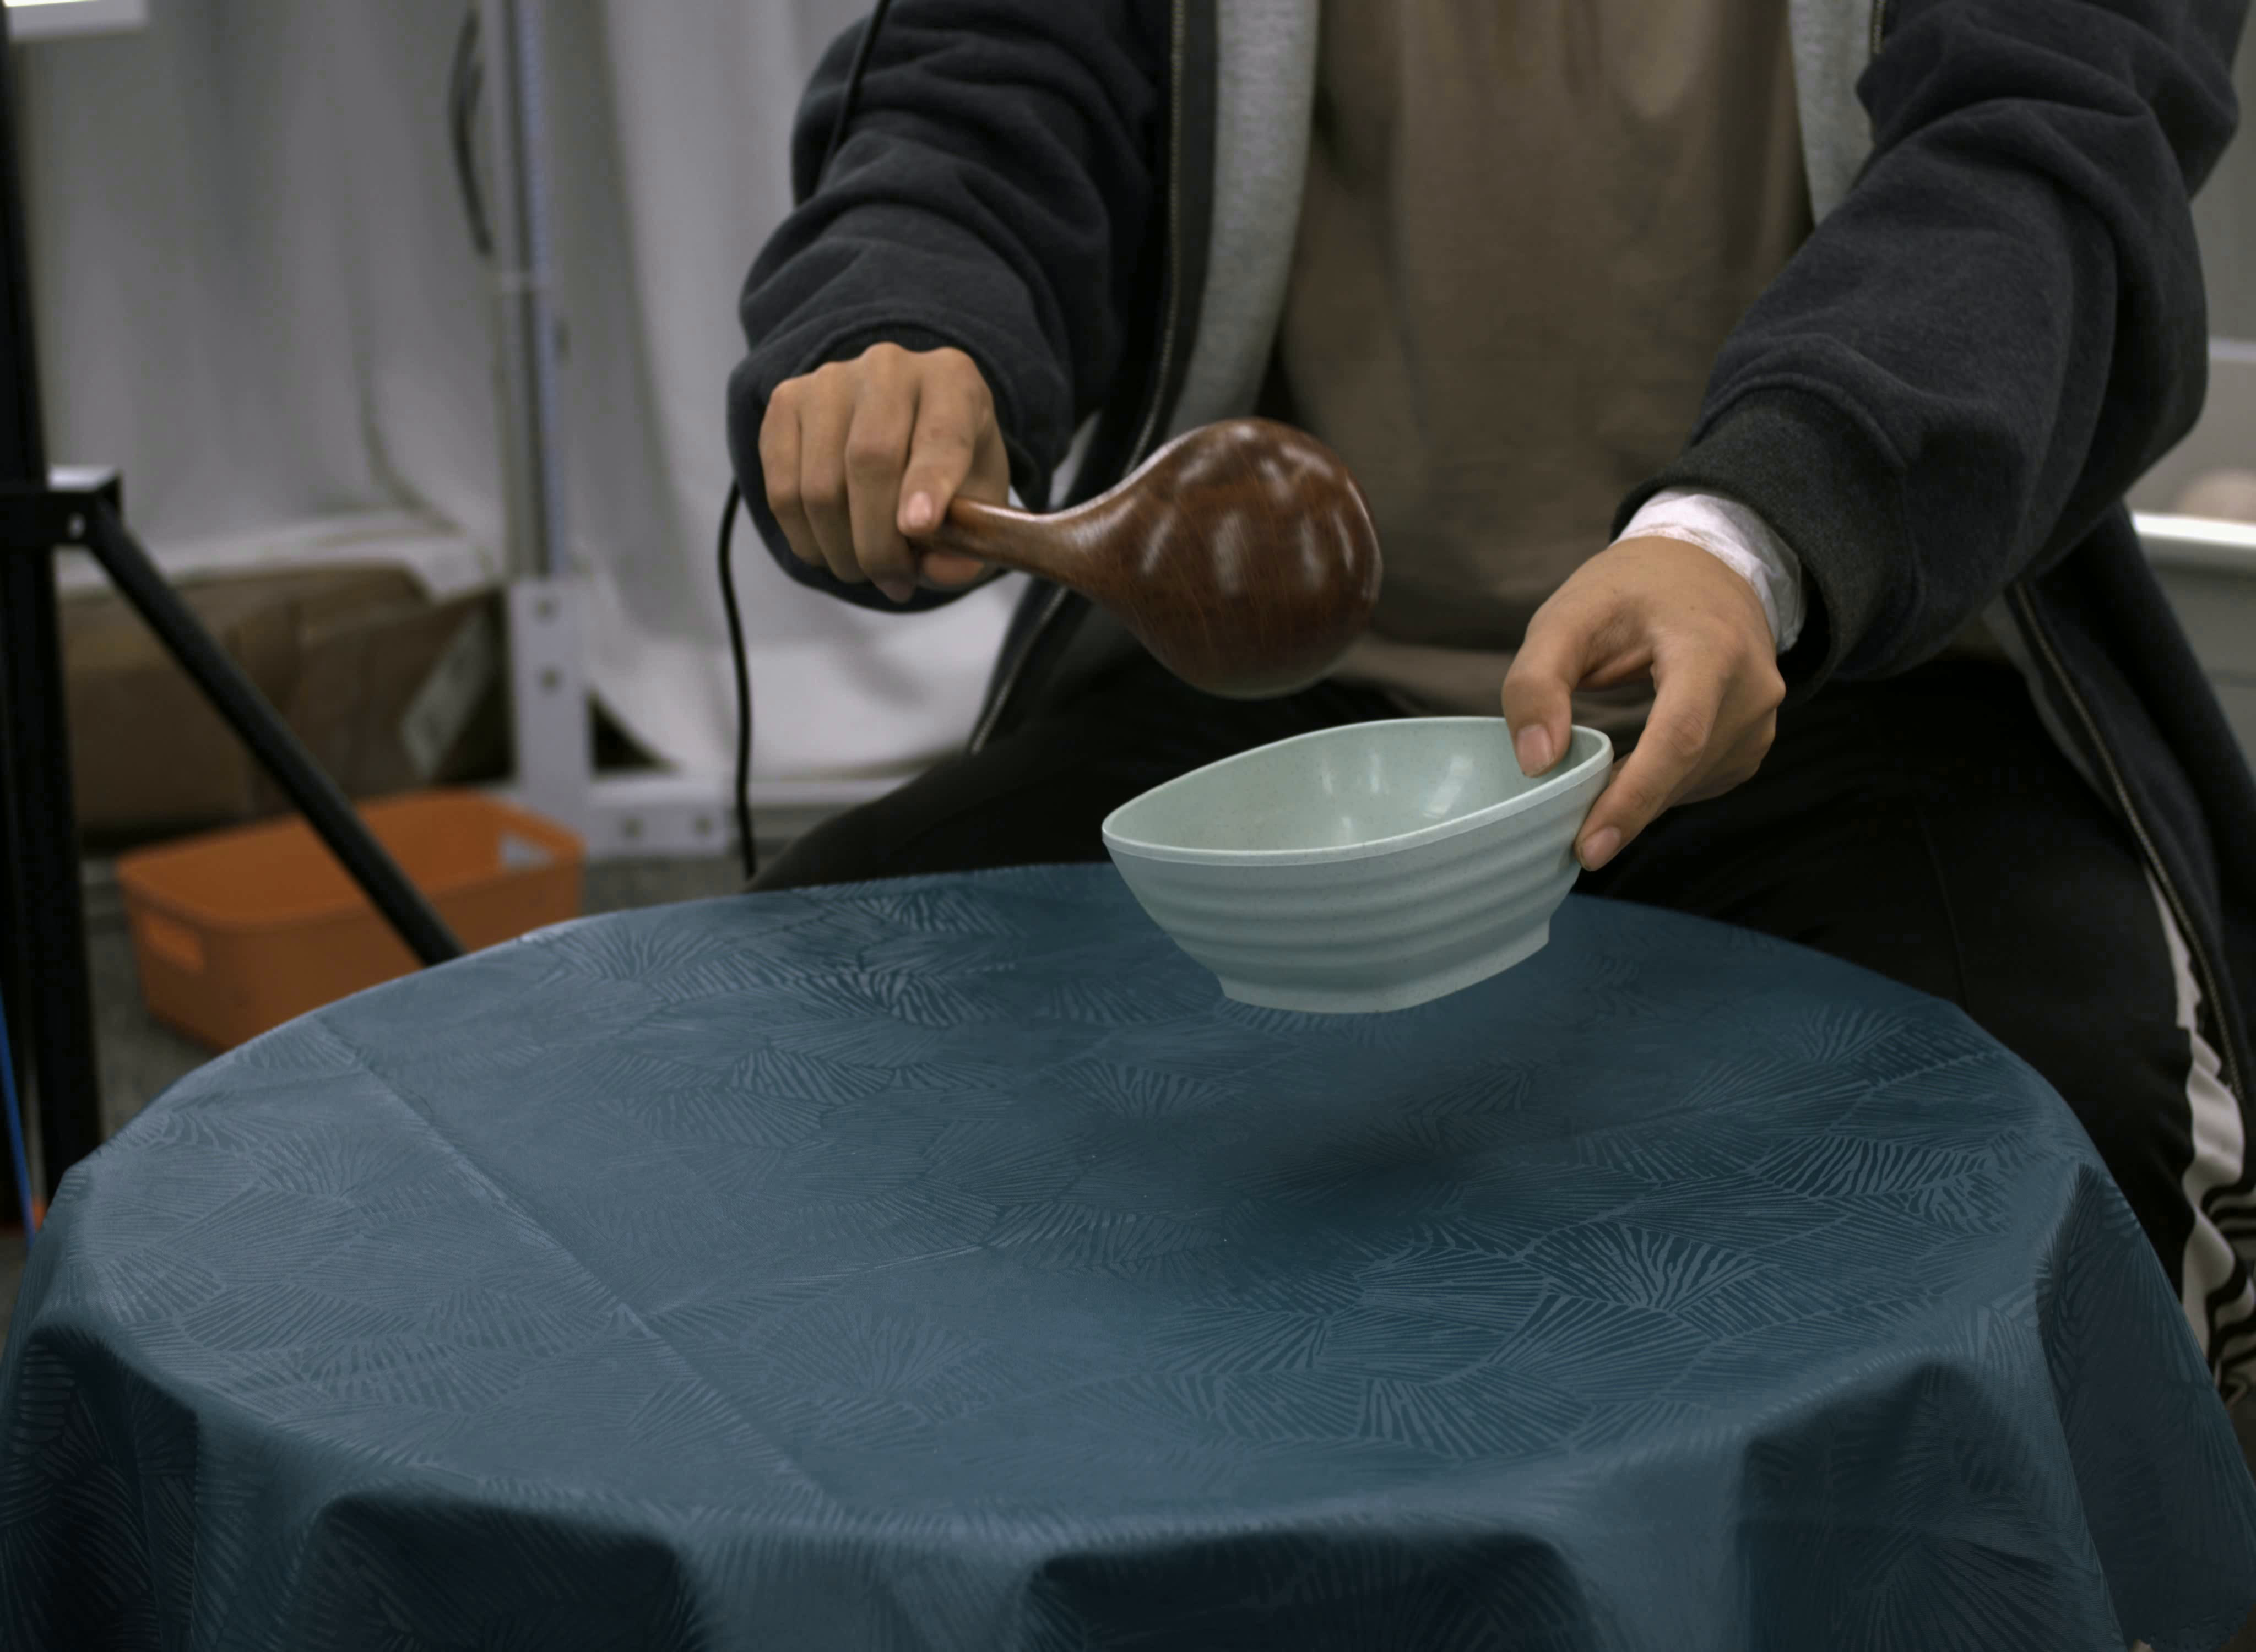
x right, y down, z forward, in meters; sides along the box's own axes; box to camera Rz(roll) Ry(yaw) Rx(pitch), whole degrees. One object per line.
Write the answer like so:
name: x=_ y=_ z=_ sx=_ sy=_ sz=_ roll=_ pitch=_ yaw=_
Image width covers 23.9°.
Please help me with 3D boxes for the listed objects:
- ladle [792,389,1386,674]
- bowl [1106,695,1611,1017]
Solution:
ladle: x=-0.015 y=-0.094 z=1.628 sx=0.075 sy=0.082 sz=0.279 roll=0 pitch=5 yaw=-26
bowl: x=0.073 y=0.013 z=1.557 sx=0.151 sy=0.058 sz=0.152 roll=-13 pitch=16 yaw=2
